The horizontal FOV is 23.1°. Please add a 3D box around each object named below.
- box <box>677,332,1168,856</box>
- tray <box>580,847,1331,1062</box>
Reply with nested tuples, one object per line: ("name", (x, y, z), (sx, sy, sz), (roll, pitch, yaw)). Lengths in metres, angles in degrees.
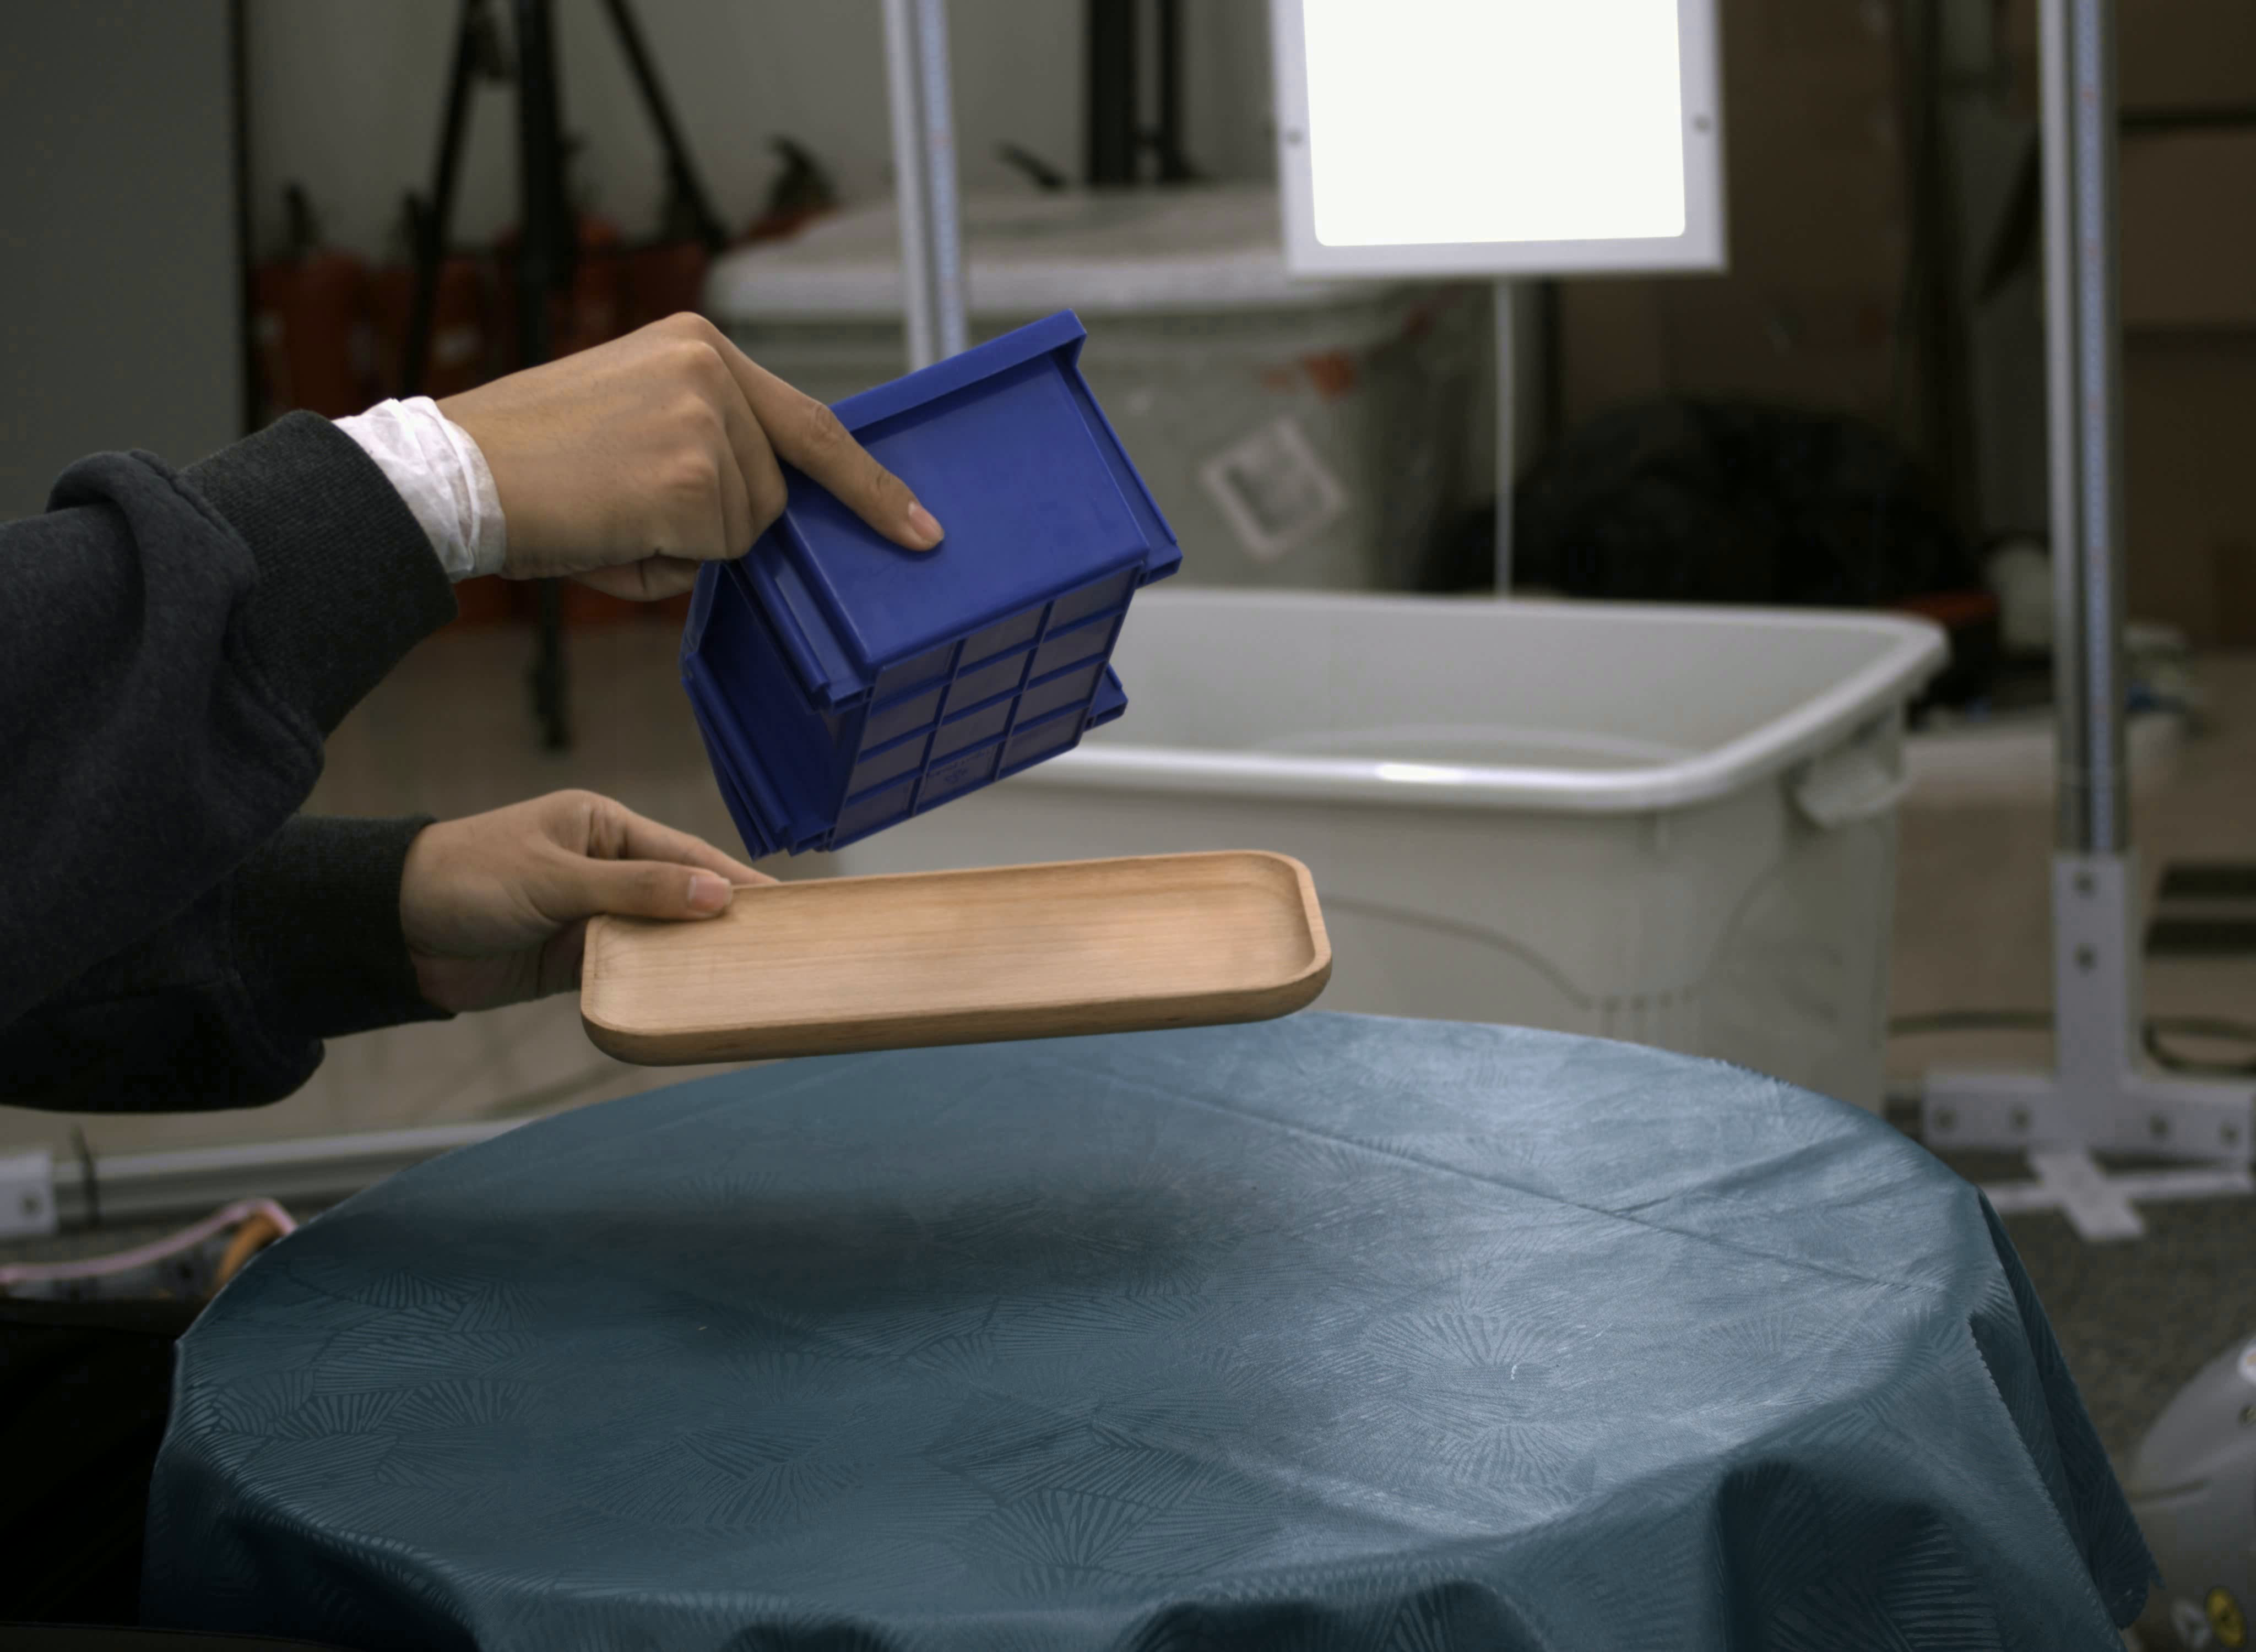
("box", (-0.069, -0.062, 1.714), (0.123, 0.082, 0.181), (-24, -13, -15))
("tray", (-0.059, 0.043, 1.857), (0.250, 0.023, 0.130), (-5, 19, 1))
